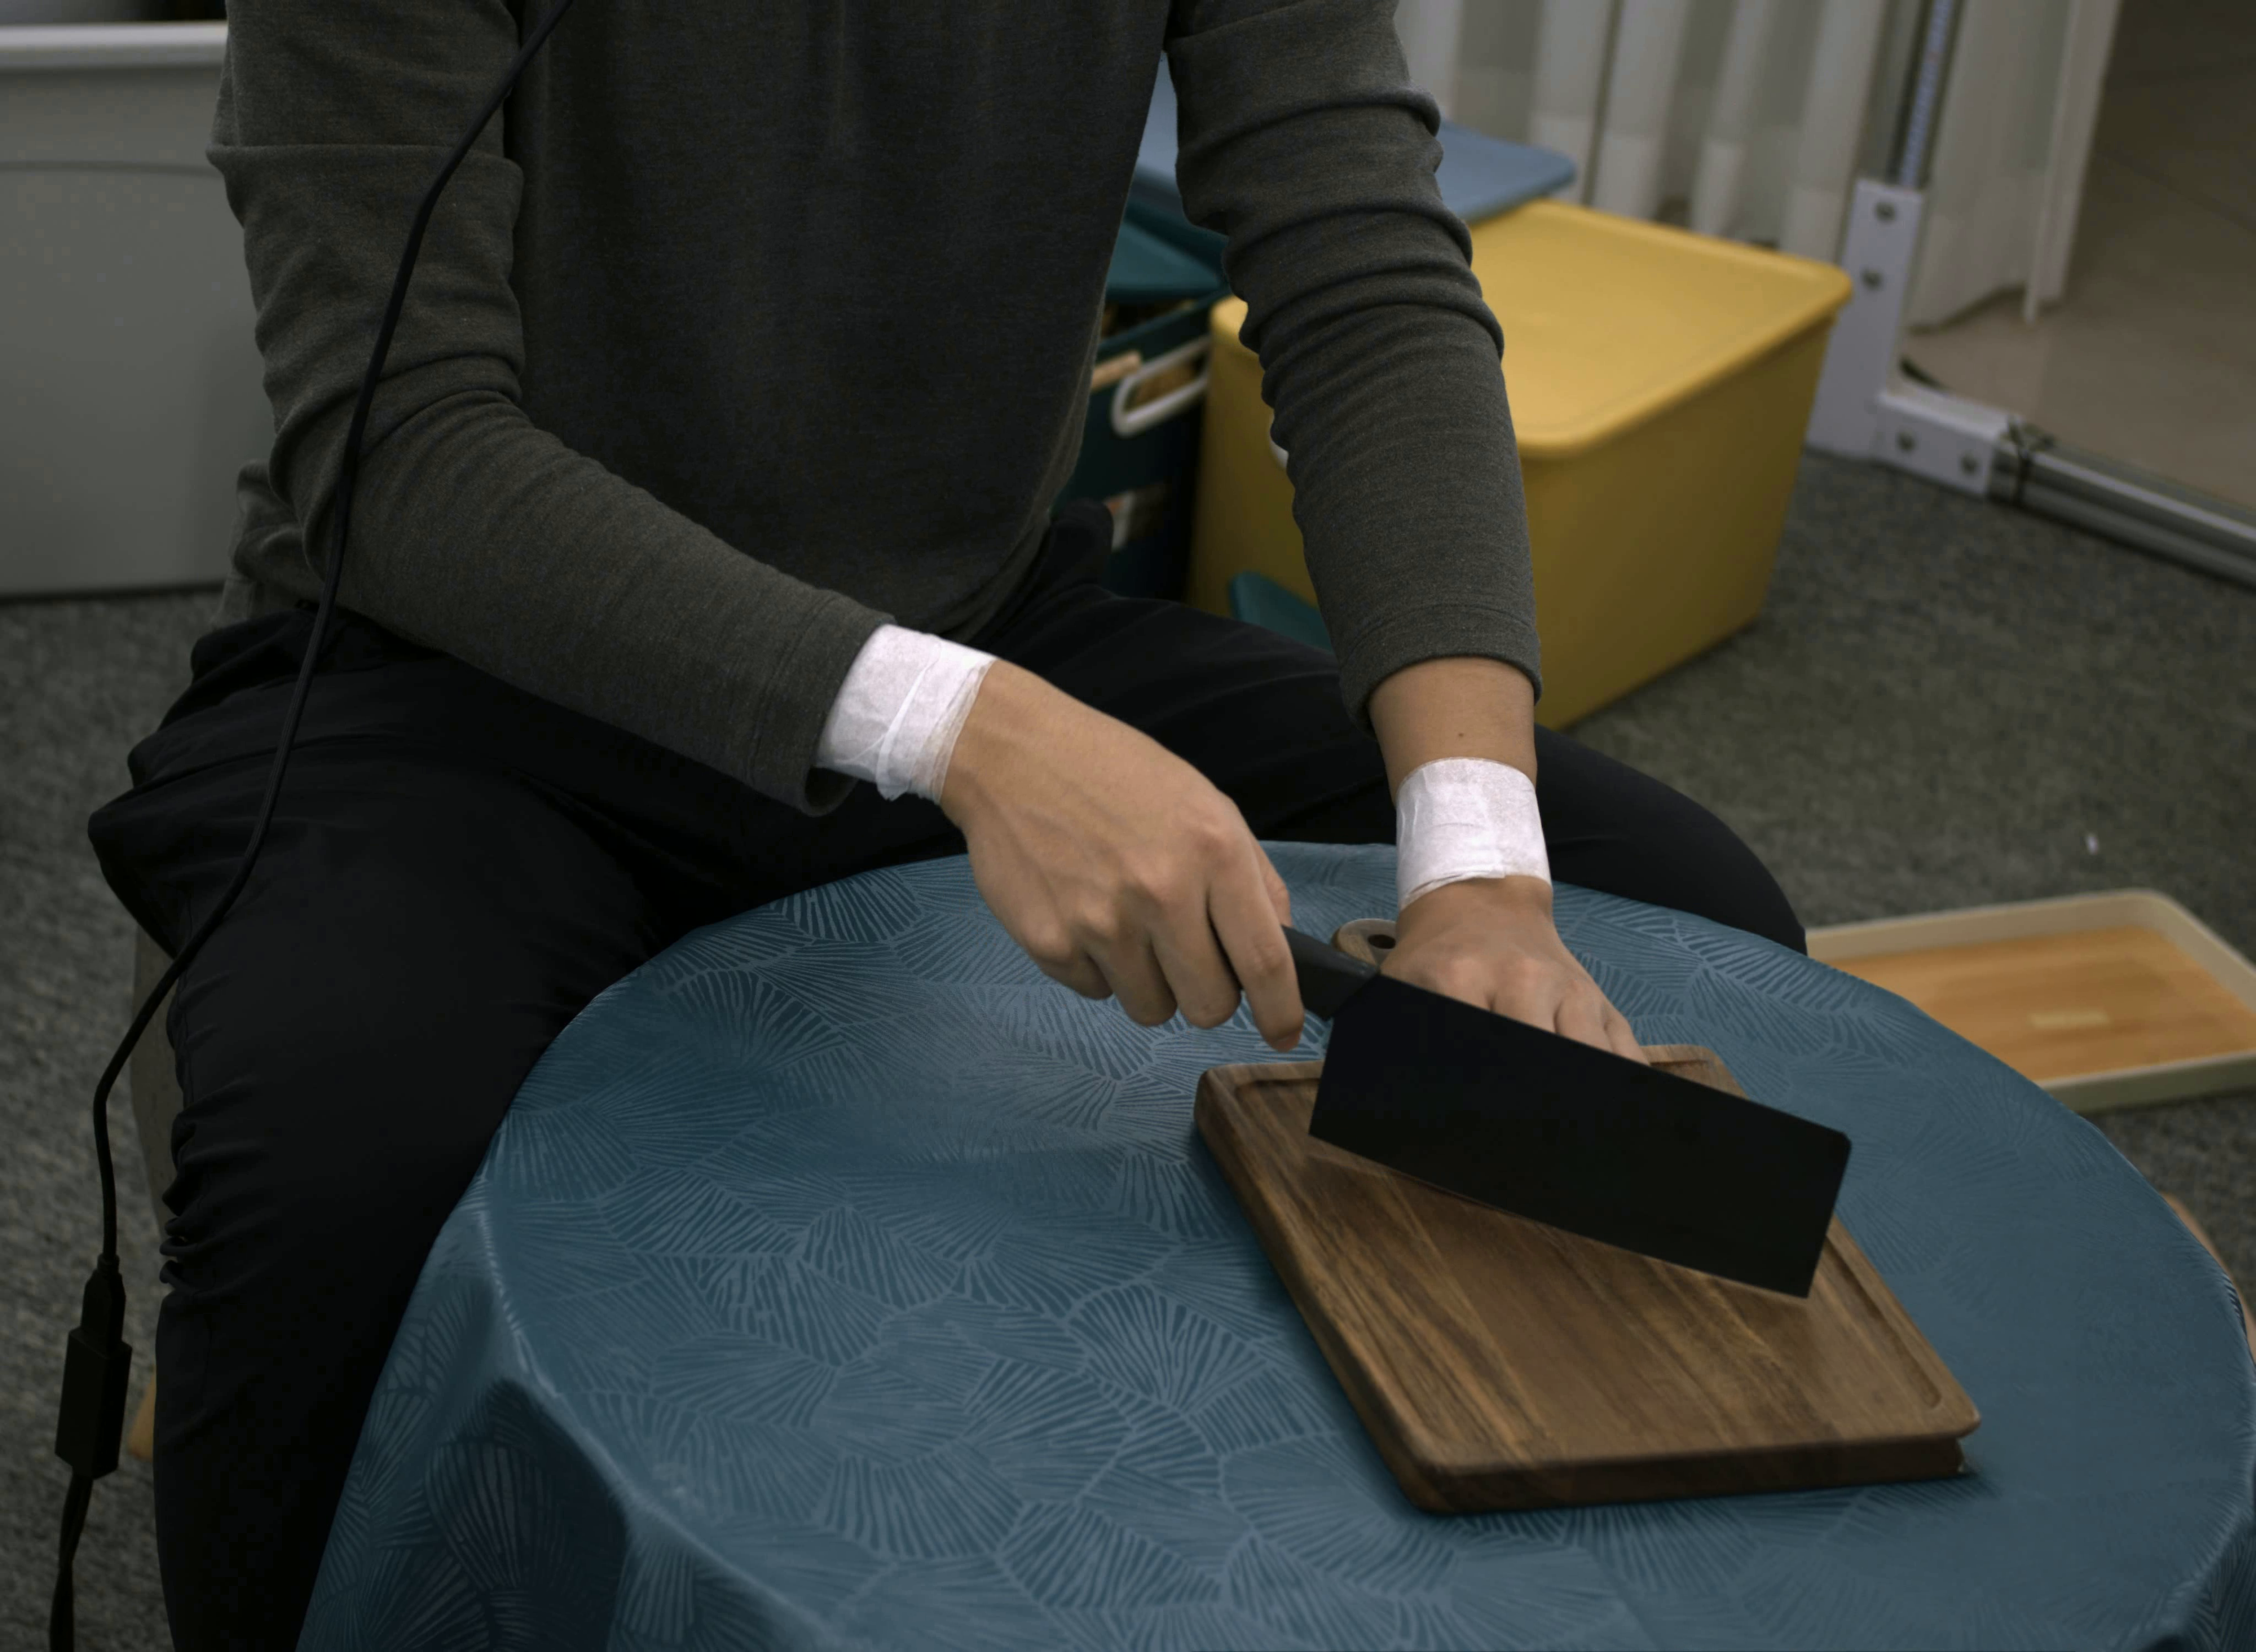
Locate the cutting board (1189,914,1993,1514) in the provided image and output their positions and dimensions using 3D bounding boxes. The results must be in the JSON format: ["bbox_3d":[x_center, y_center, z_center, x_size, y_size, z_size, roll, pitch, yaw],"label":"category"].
[{"bbox_3d":[0.135,0.122,1.816,0.200,0.023,0.355,-2,28,-17],"label":"cutting board"}]

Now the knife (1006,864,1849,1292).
[{"bbox_3d":[0.096,0.080,1.788,0.303,0.081,0.021,23,21,17],"label":"knife"}]
